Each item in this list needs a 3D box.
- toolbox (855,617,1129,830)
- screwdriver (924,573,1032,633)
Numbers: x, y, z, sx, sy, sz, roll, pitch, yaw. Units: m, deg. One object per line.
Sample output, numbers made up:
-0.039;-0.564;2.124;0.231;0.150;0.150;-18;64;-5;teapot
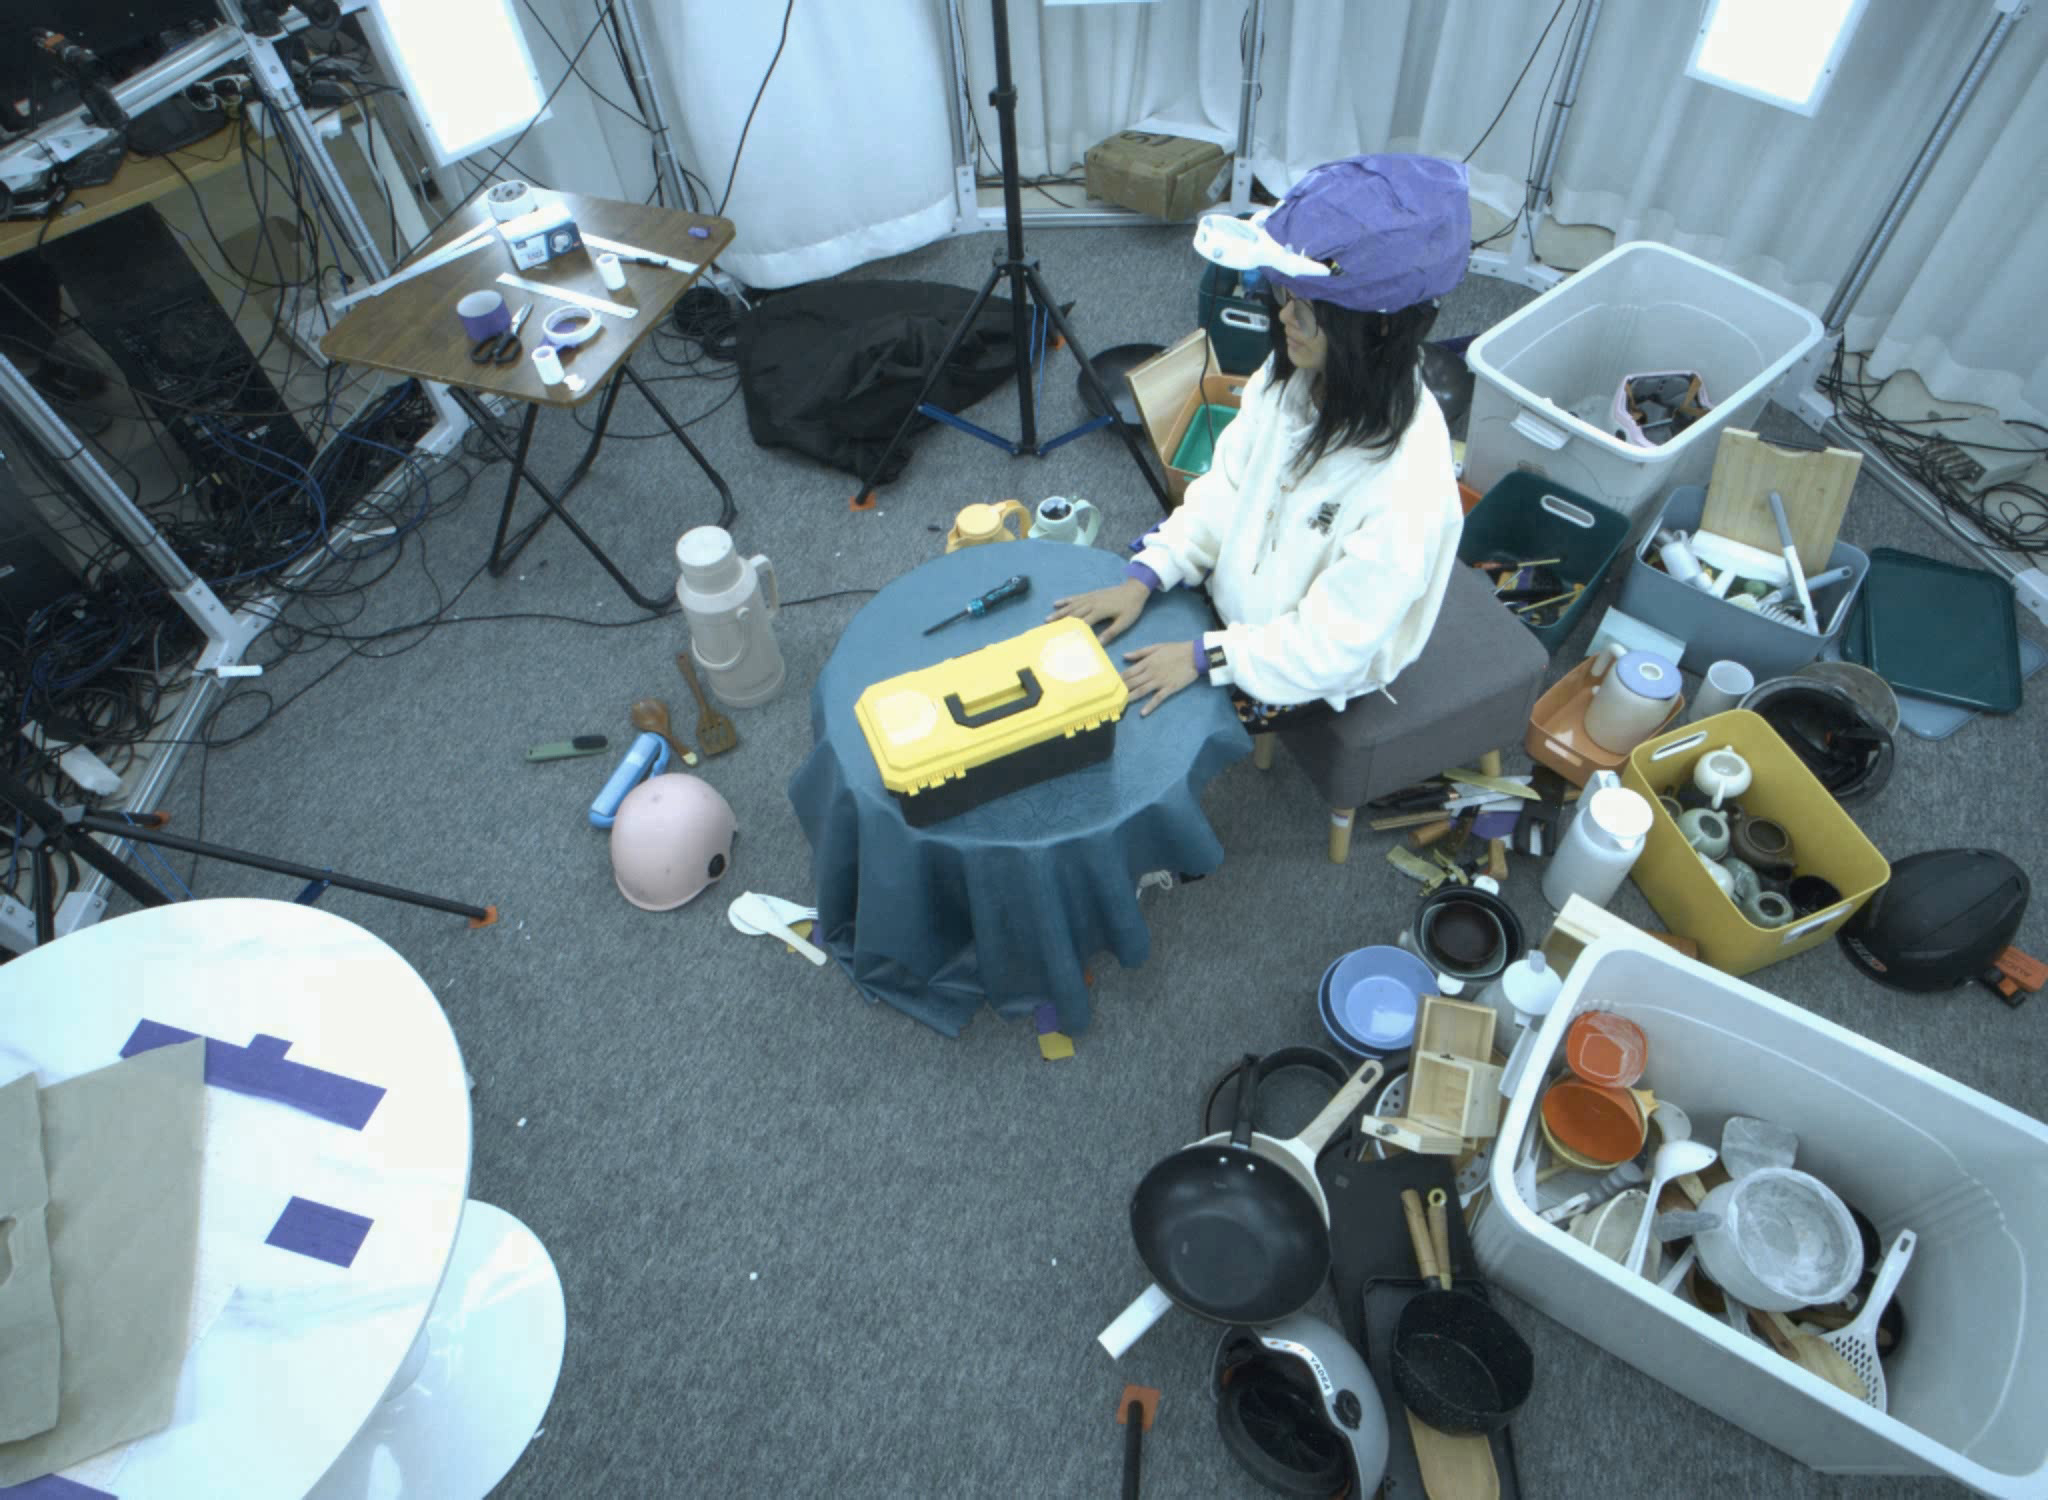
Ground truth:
-0.042;-0.035;1.707;0.354;0.175;0.178;-20;56;-11;toolbox
-0.074;-0.229;1.939;0.191;0.034;0.033;-29;58;-12;screwdriver
